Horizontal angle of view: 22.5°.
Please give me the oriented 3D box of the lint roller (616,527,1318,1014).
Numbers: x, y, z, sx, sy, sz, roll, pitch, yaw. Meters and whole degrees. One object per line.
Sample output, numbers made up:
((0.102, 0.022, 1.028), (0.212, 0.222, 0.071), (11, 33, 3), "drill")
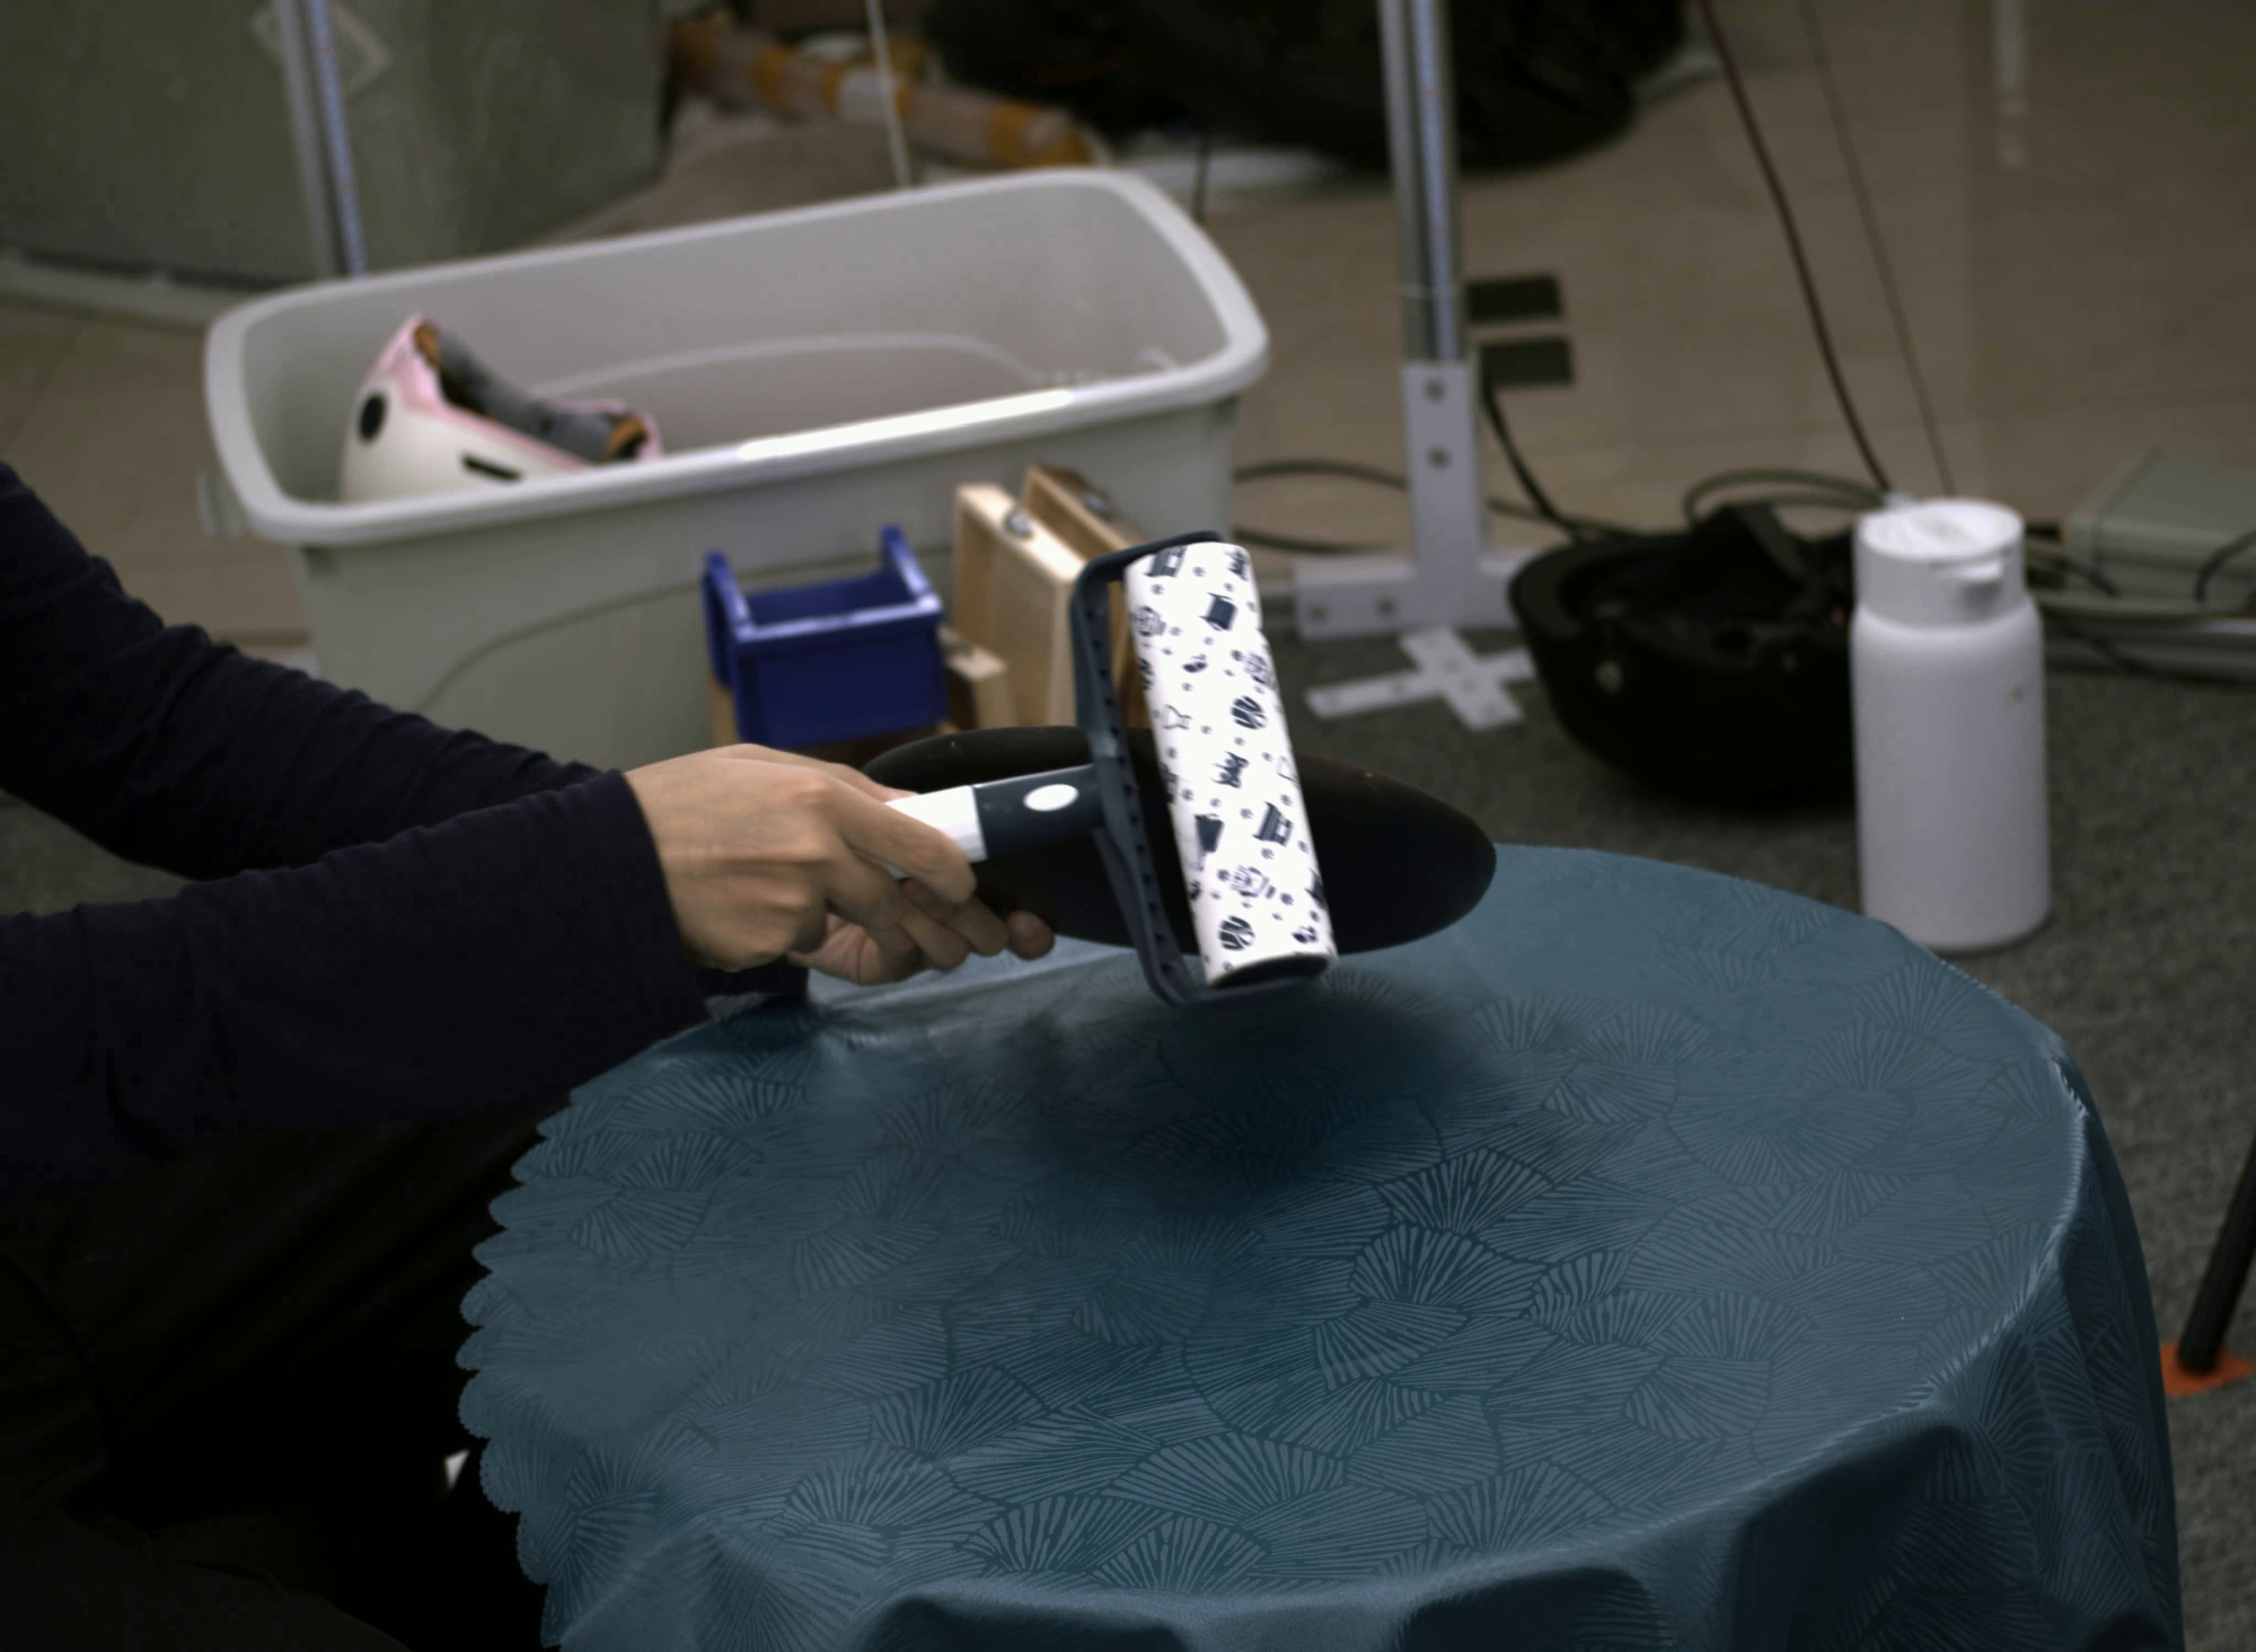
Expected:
((-0.066, 0.001, 2.054), (0.247, 0.175, 0.051), (-13, -14, 1), "lint roller")

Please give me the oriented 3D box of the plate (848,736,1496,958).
((0.016, 0.010, 2.203), (0.254, 0.029, 0.257), (4, -17, 1), "plate")
